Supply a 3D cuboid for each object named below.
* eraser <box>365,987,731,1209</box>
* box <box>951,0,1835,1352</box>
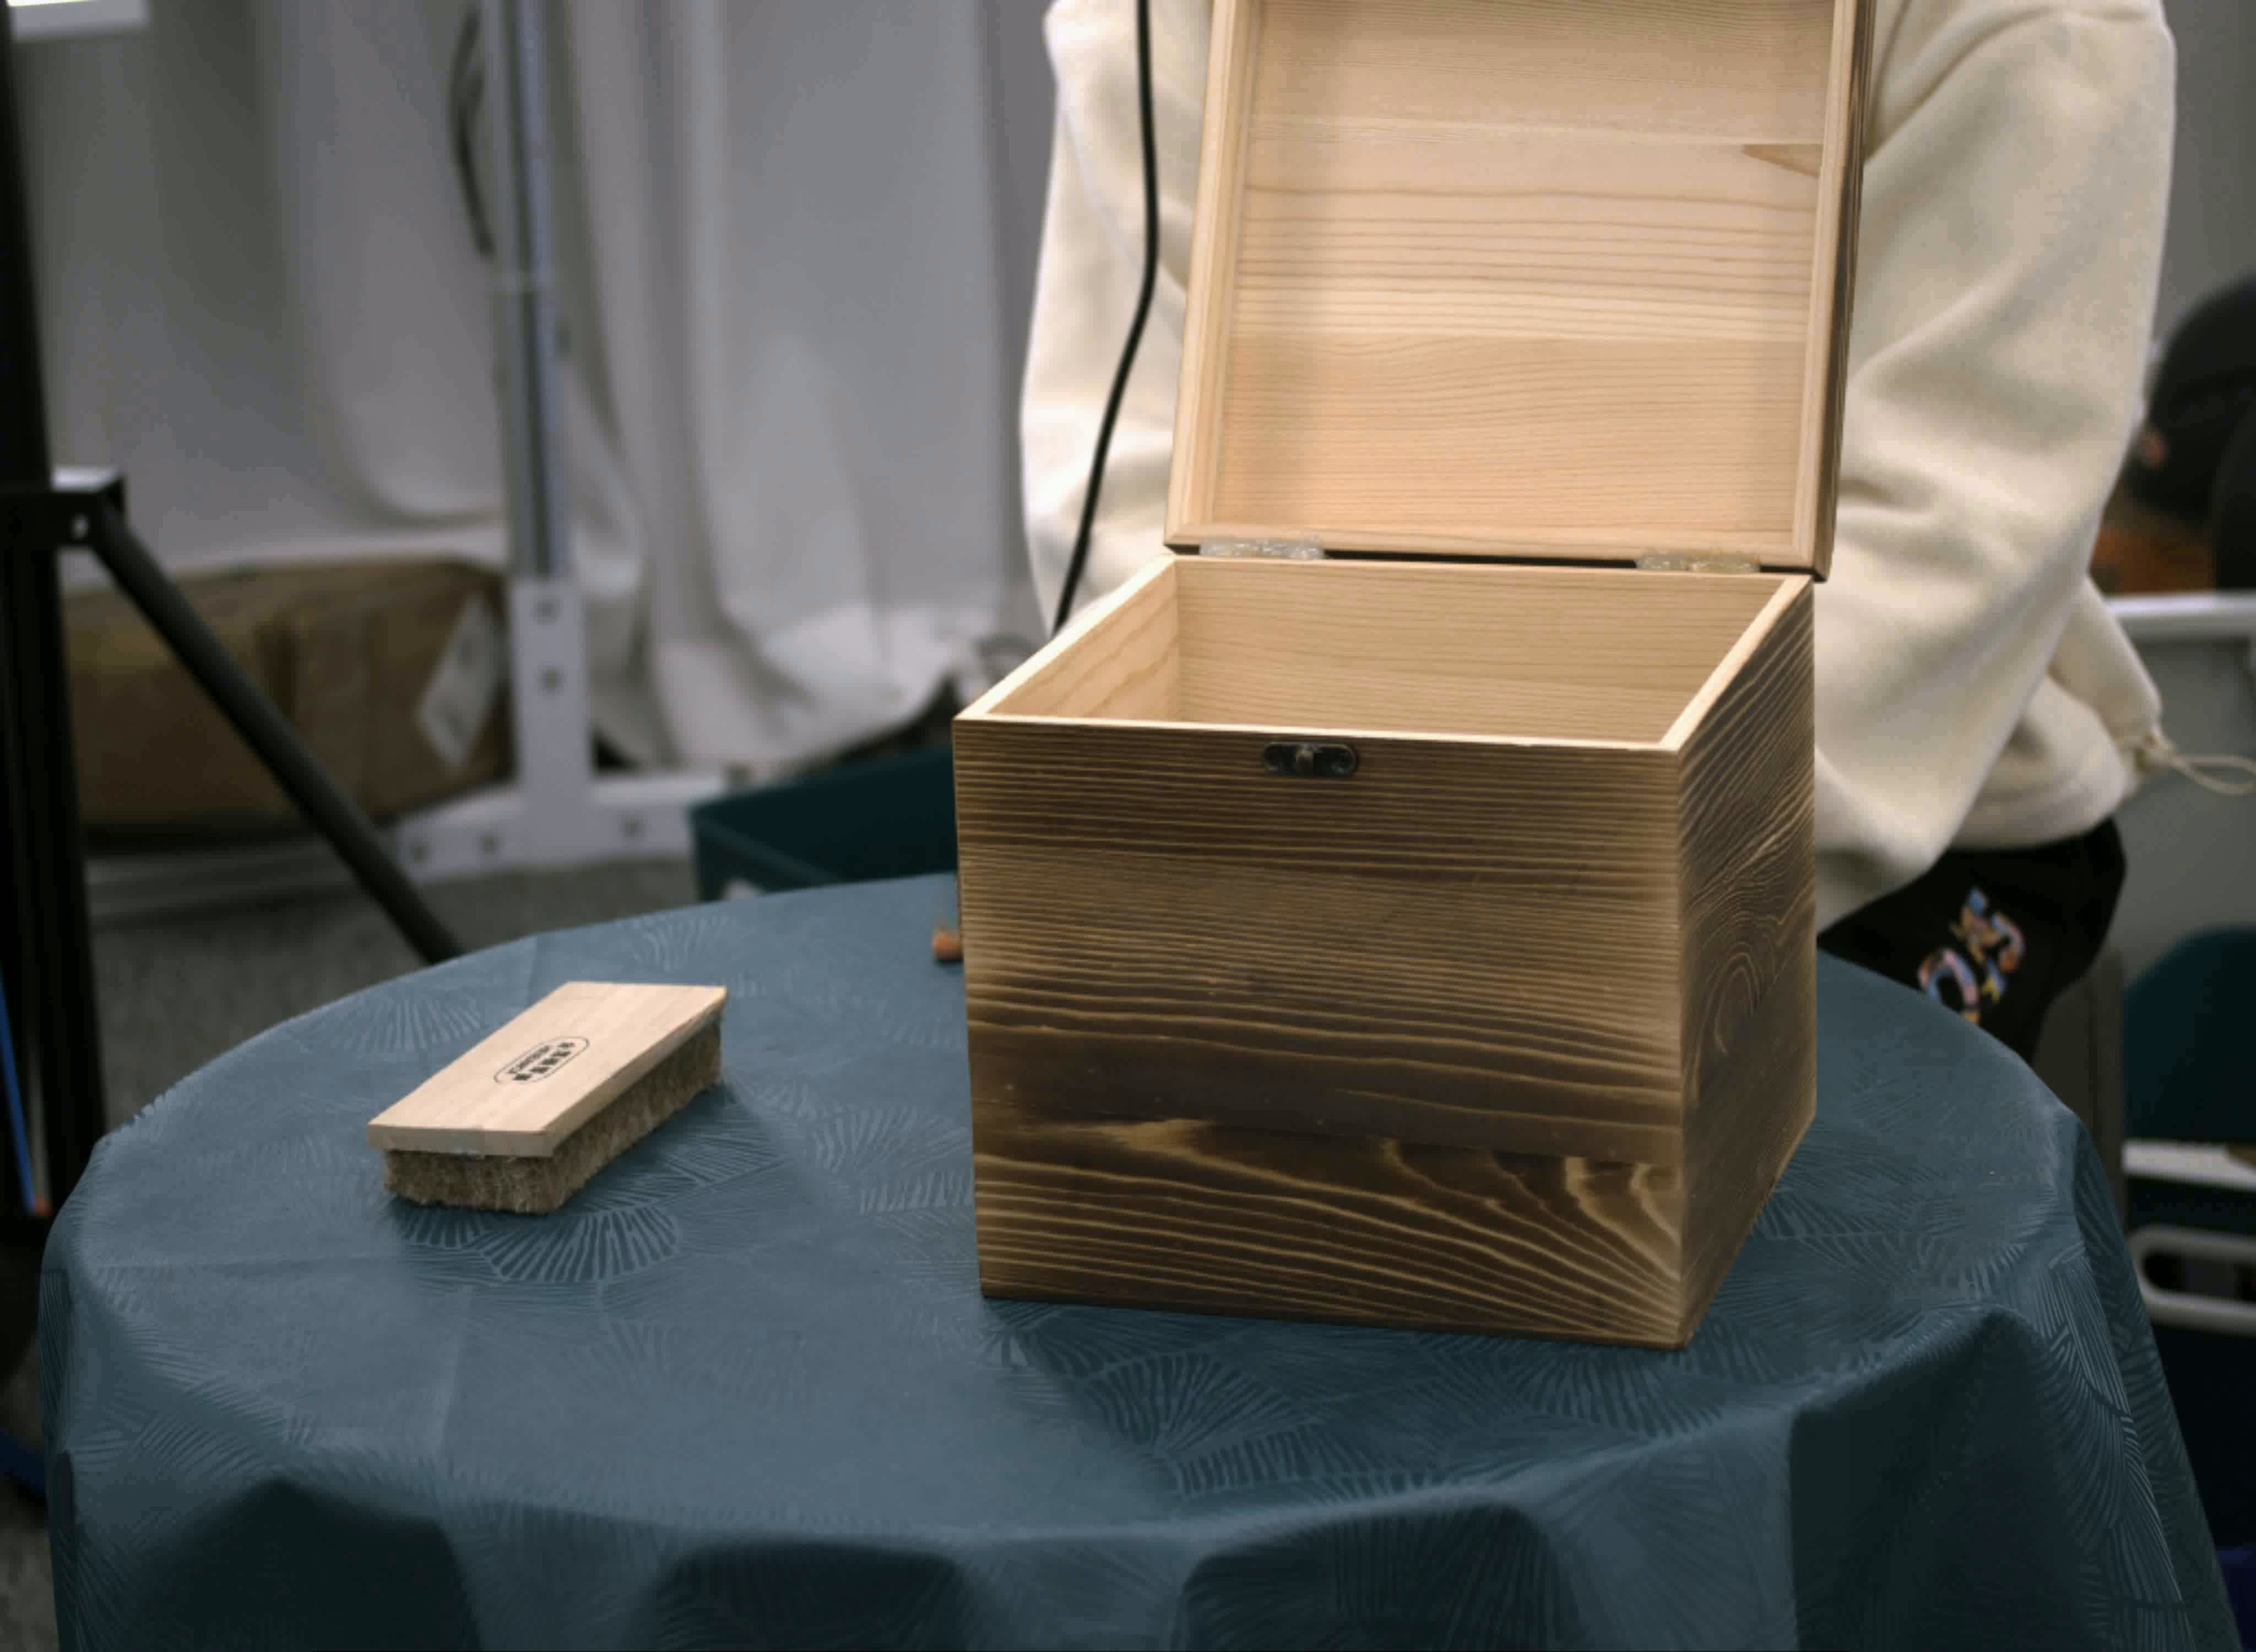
[{"bbox_3d":[-0.174,0.082,1.627,0.058,0.029,0.137,0,15,22],"label":"eraser"},{"bbox_3d":[0.088,-0.078,1.536,0.211,0.375,0.319,2,16,17],"label":"box"}]
